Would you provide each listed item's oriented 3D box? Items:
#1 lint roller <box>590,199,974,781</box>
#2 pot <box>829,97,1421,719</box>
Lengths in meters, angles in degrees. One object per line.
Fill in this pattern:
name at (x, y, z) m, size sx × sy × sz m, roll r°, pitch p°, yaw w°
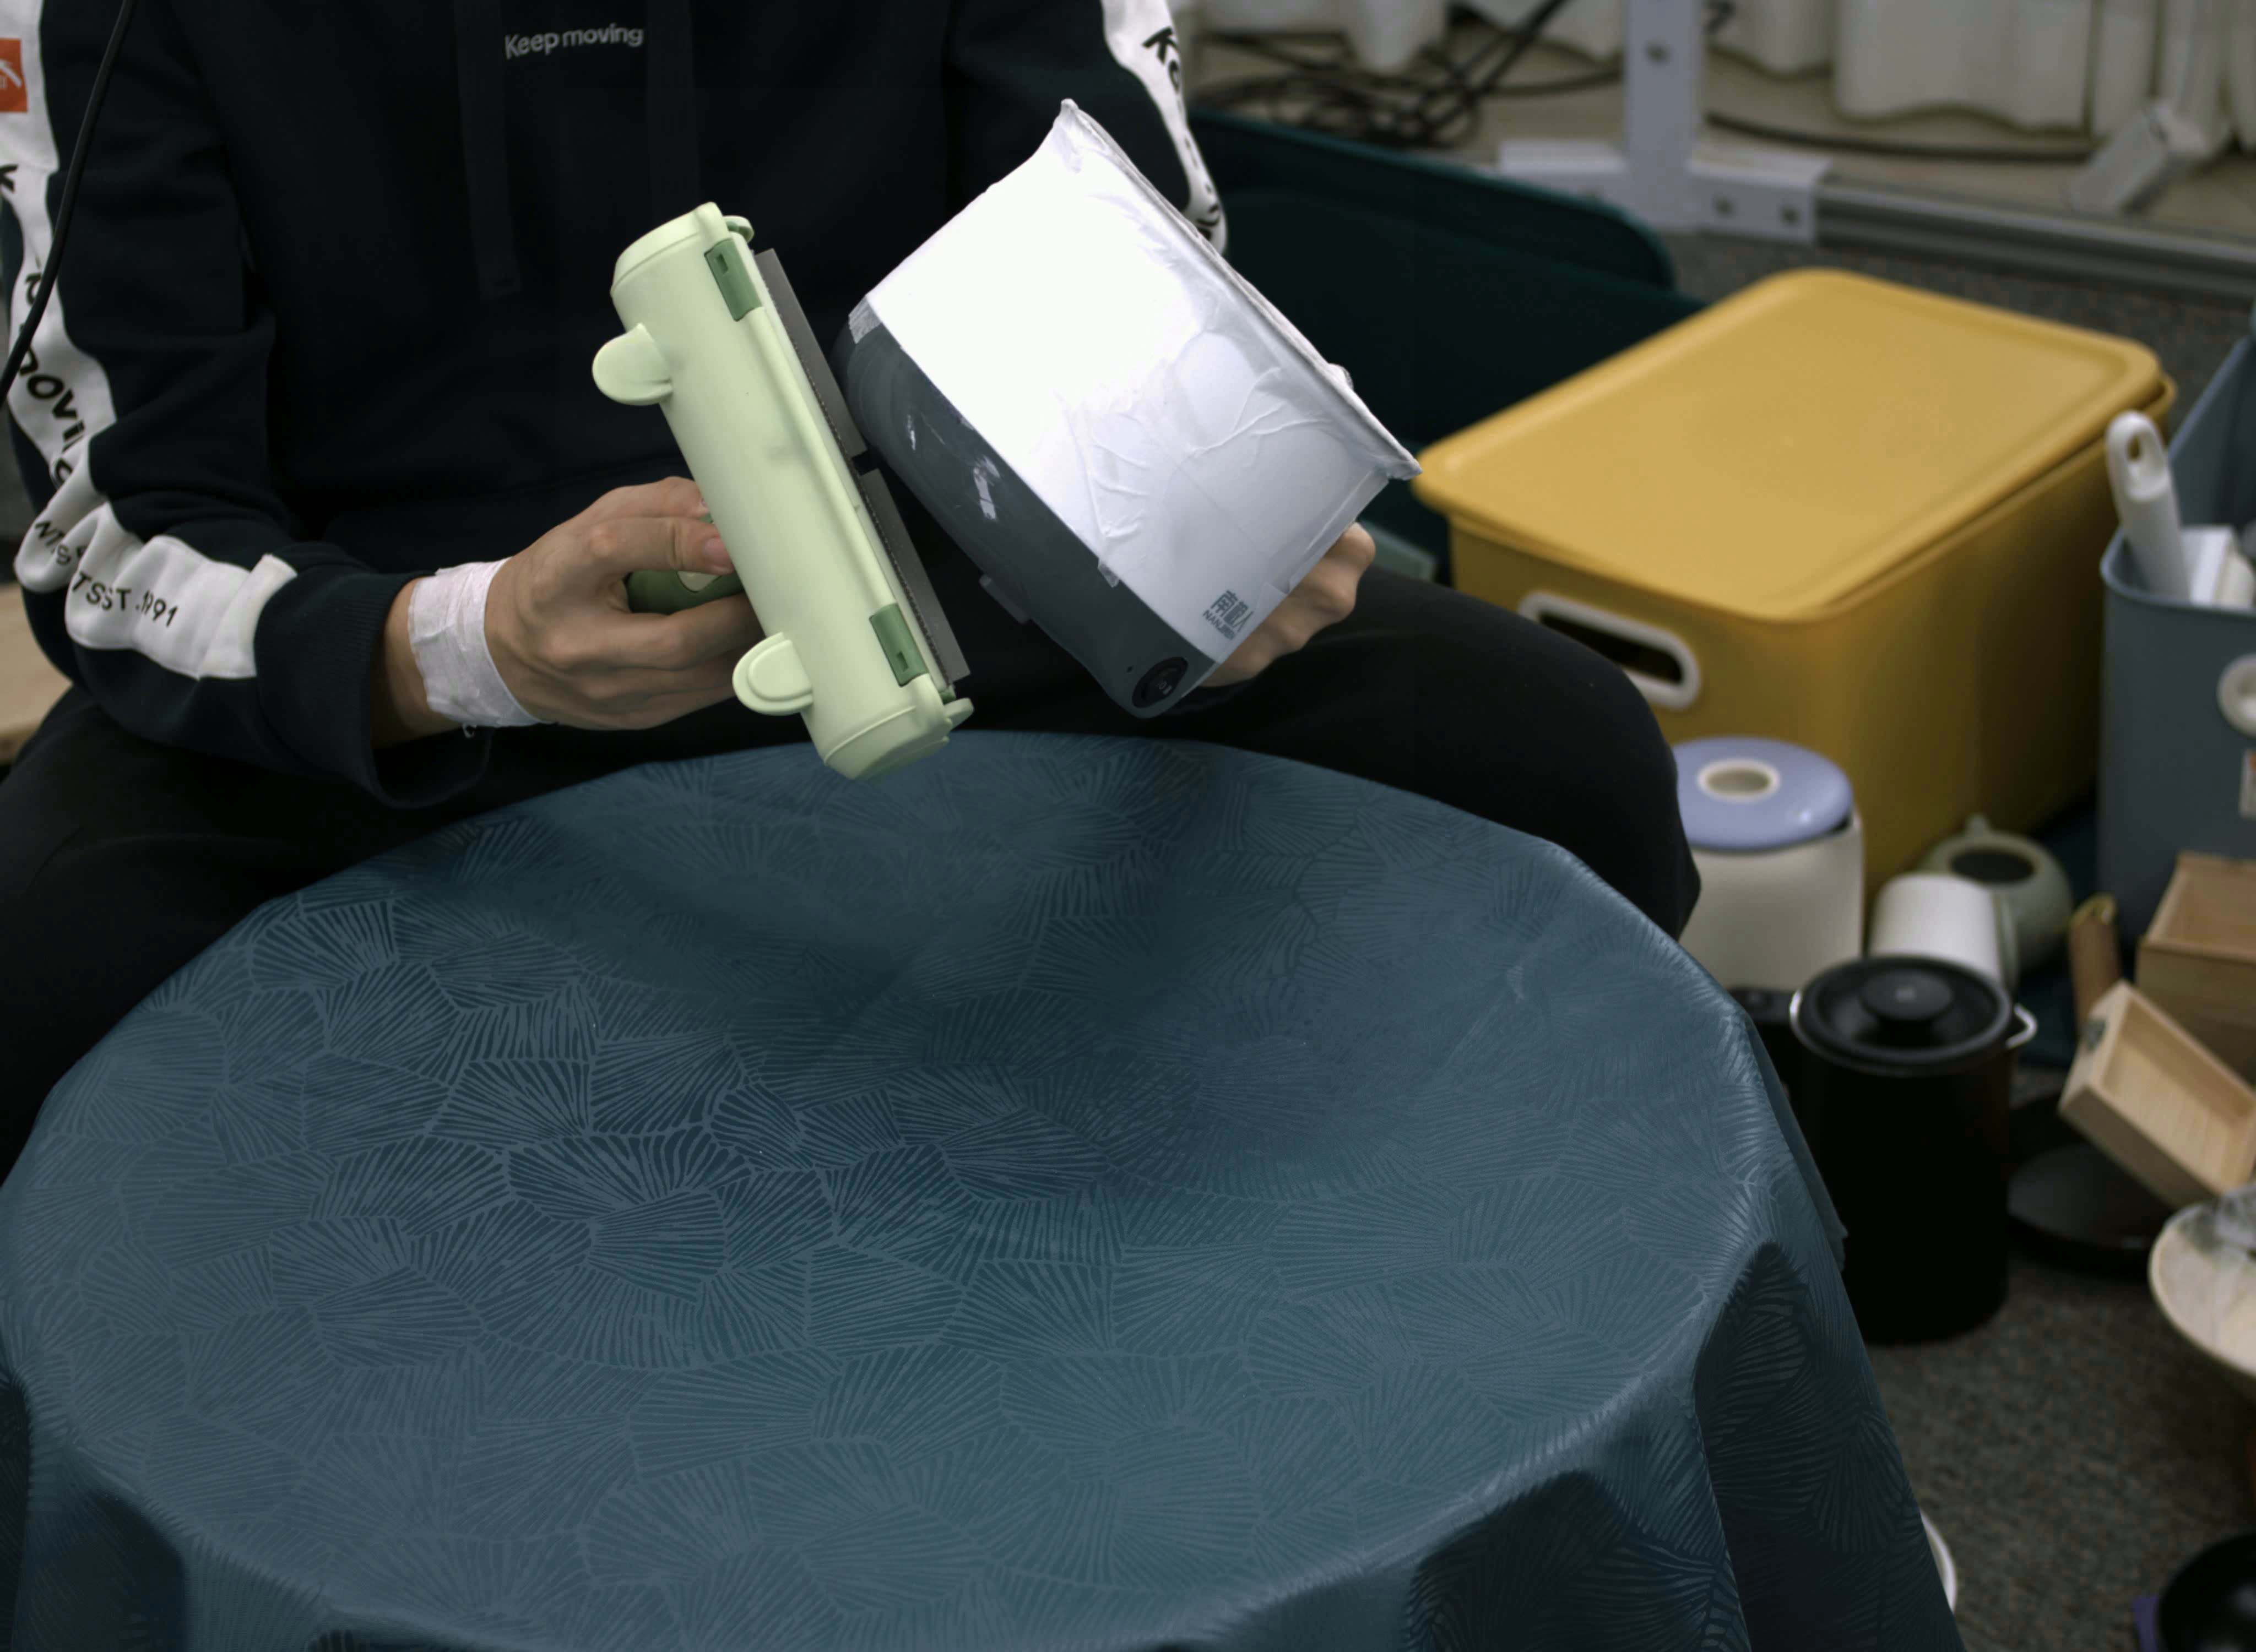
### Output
lint roller at (-0.150, -0.089, 1.922) m, size 0.083 × 0.200 × 0.180 m, roll -17°, pitch -12°, yaw -44°
pot at (0.004, -0.135, 1.963) m, size 0.180 × 0.136 × 0.233 m, roll 49°, pitch 6°, yaw 25°
